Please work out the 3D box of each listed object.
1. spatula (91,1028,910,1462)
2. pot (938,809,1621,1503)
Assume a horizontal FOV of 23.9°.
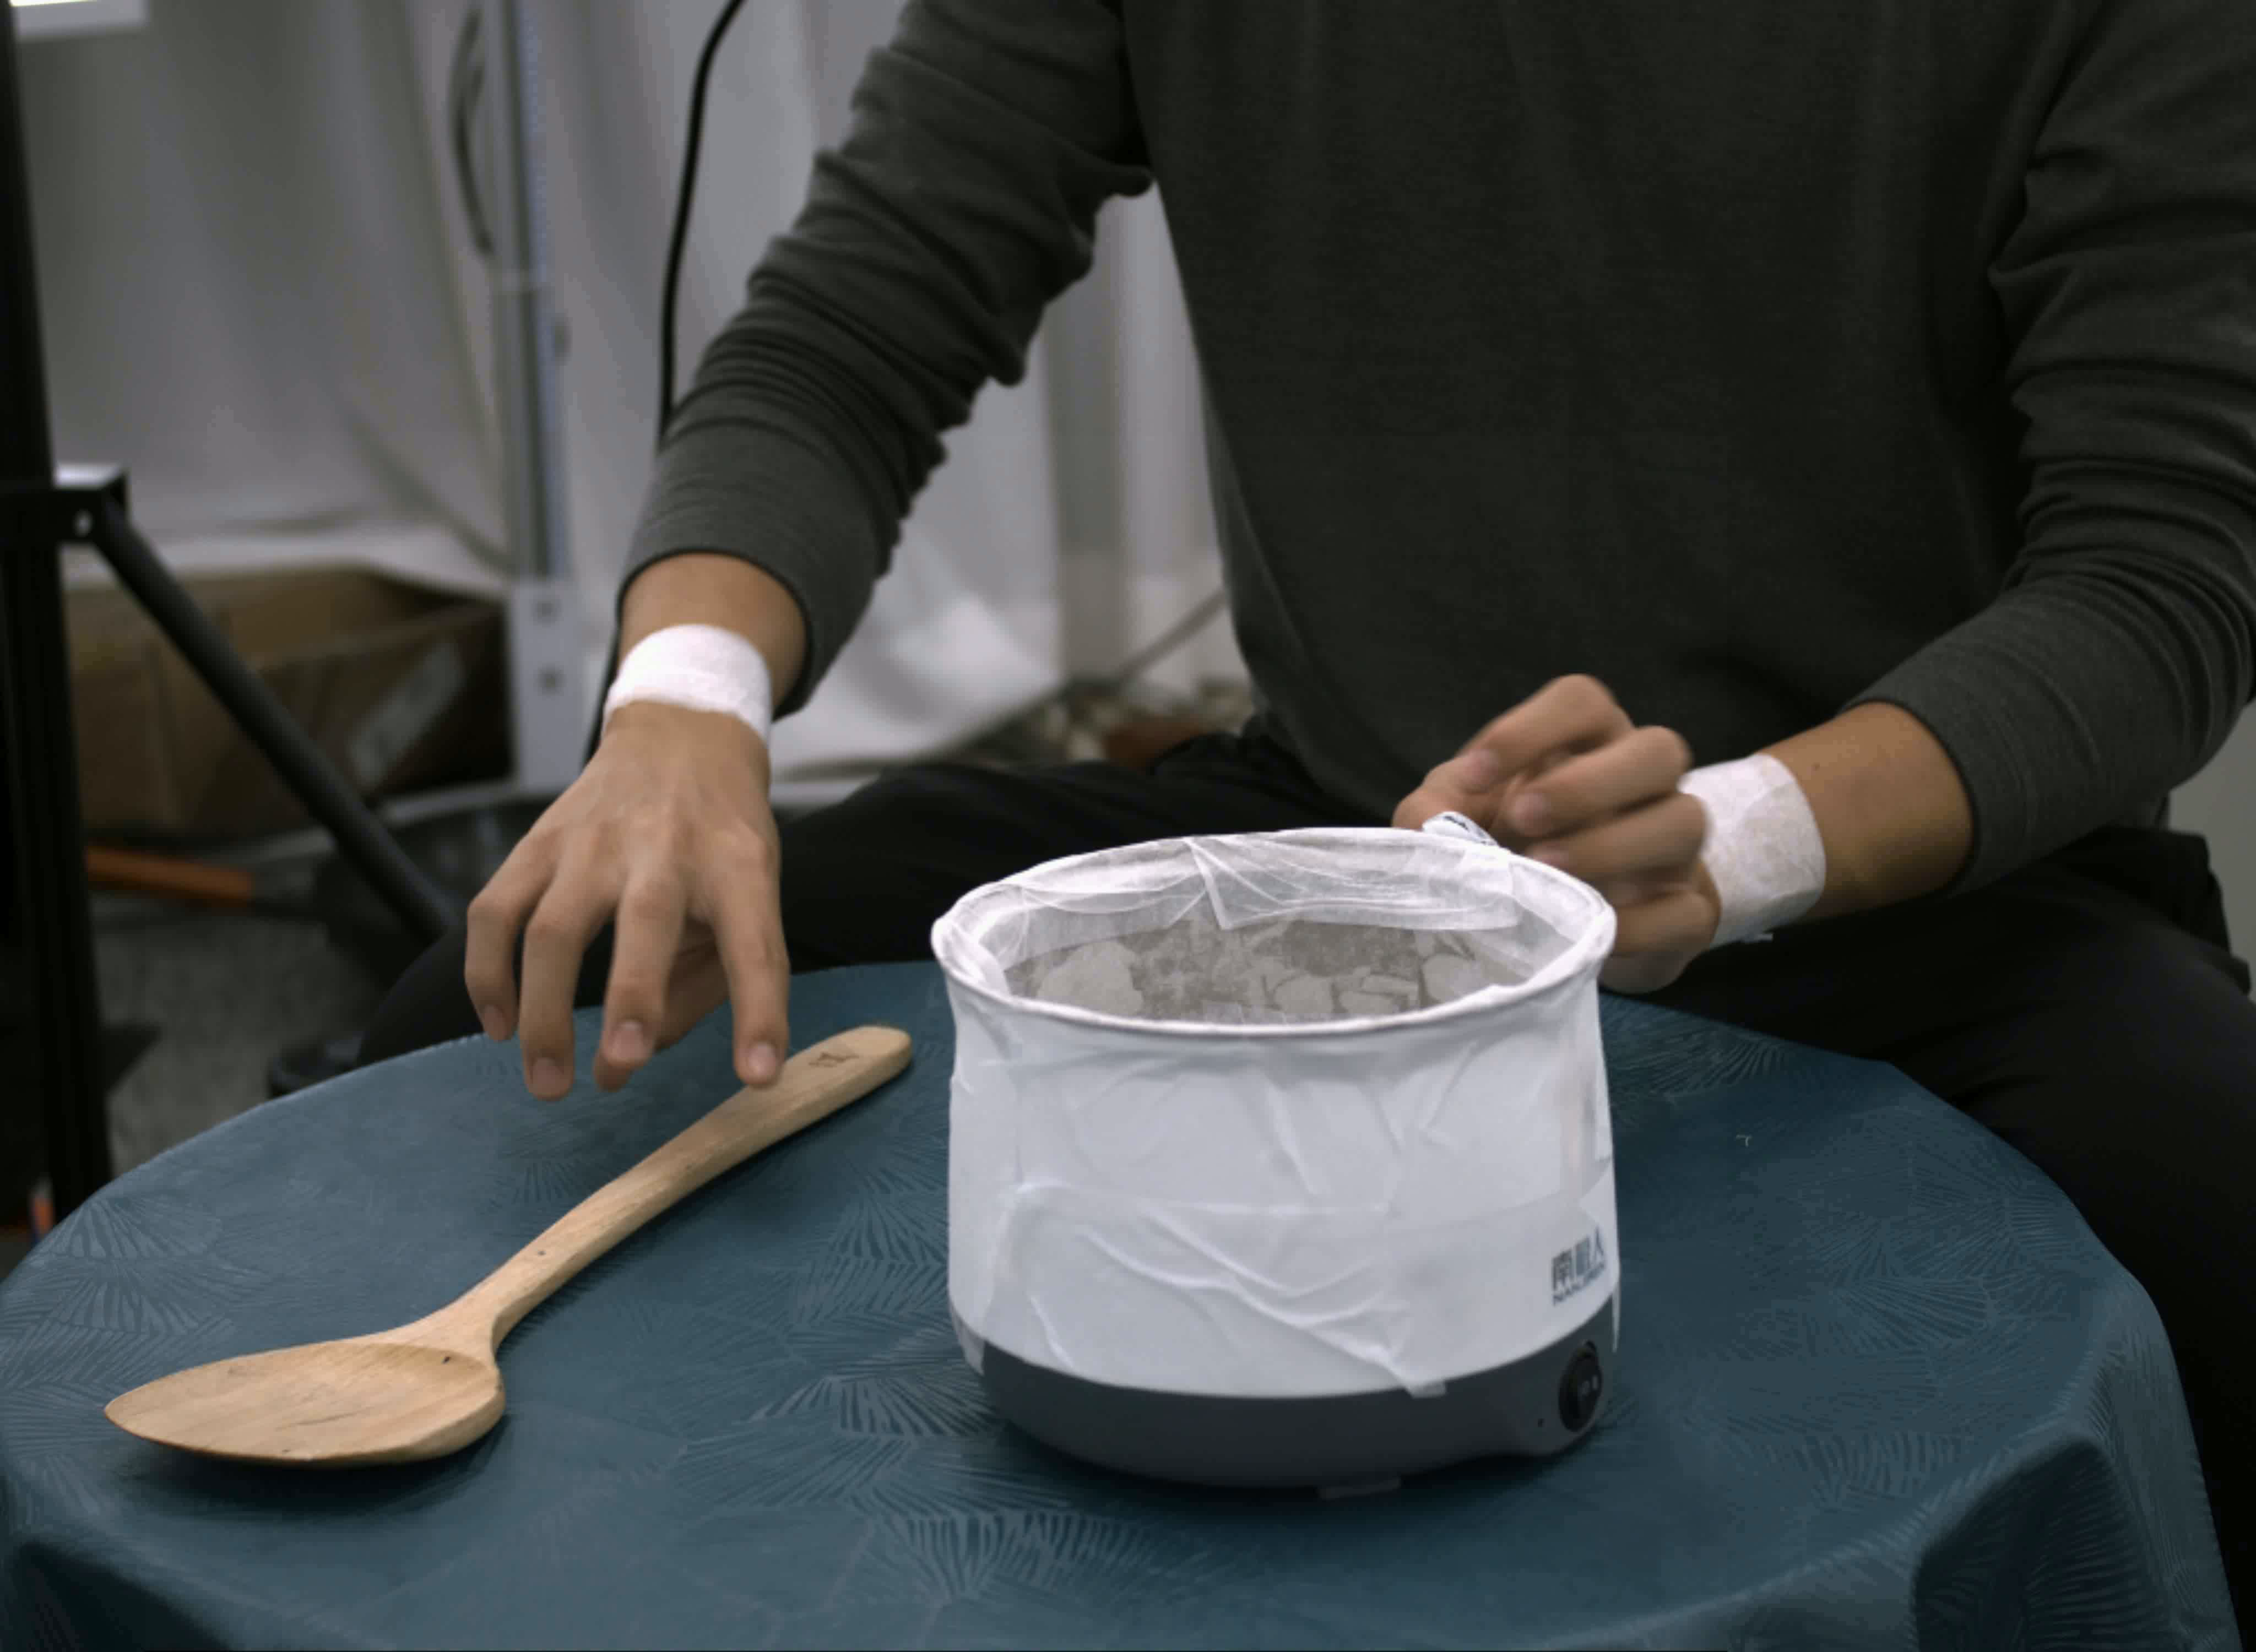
[{"bbox_3d":[-0.158,0.114,1.533,0.097,0.018,0.385,6,18,23],"label":"spatula"},{"bbox_3d":[0.054,0.079,1.404,0.182,0.136,0.229,7,18,30],"label":"pot"}]
